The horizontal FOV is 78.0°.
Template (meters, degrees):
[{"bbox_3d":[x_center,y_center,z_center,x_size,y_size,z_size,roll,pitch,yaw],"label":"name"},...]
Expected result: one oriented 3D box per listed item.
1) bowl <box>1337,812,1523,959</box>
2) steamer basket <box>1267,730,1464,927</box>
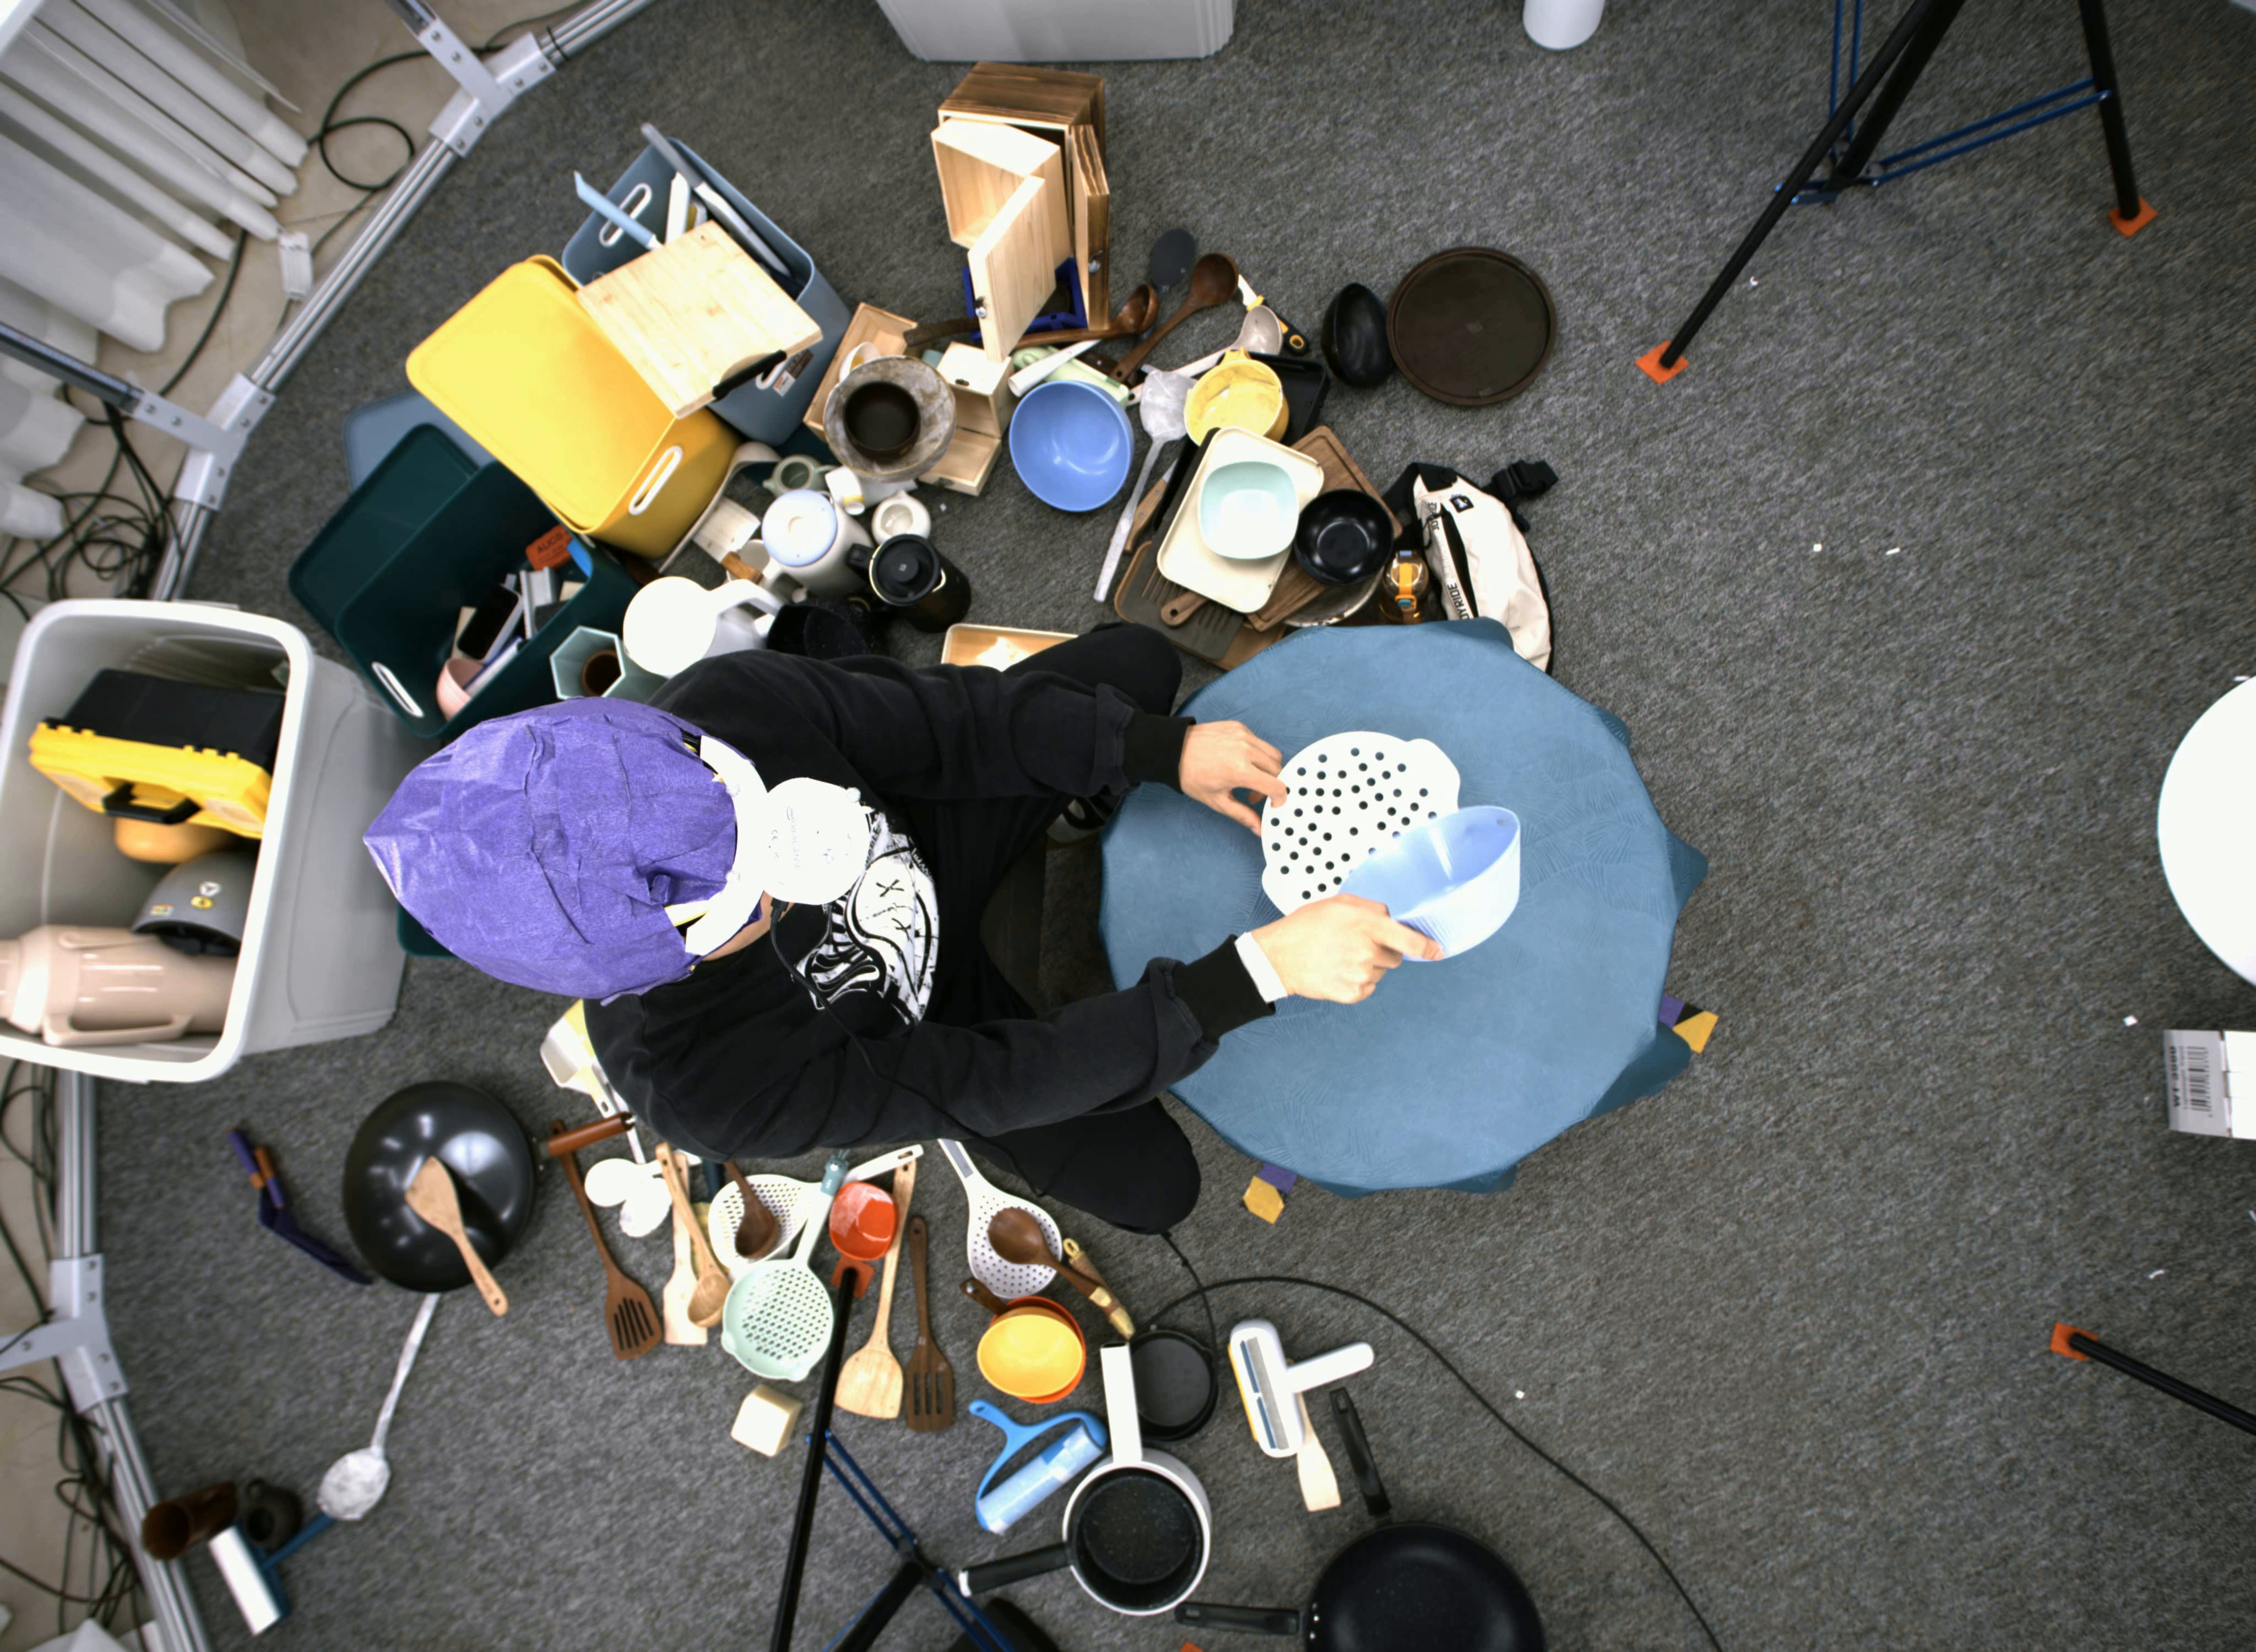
[{"bbox_3d":[0.276,0.058,1.209,0.177,0.174,0.071,-28,103,6],"label":"bowl"},{"bbox_3d":[0.243,0.003,1.430,0.231,0.069,0.202,-42,89,1],"label":"steamer basket"}]
